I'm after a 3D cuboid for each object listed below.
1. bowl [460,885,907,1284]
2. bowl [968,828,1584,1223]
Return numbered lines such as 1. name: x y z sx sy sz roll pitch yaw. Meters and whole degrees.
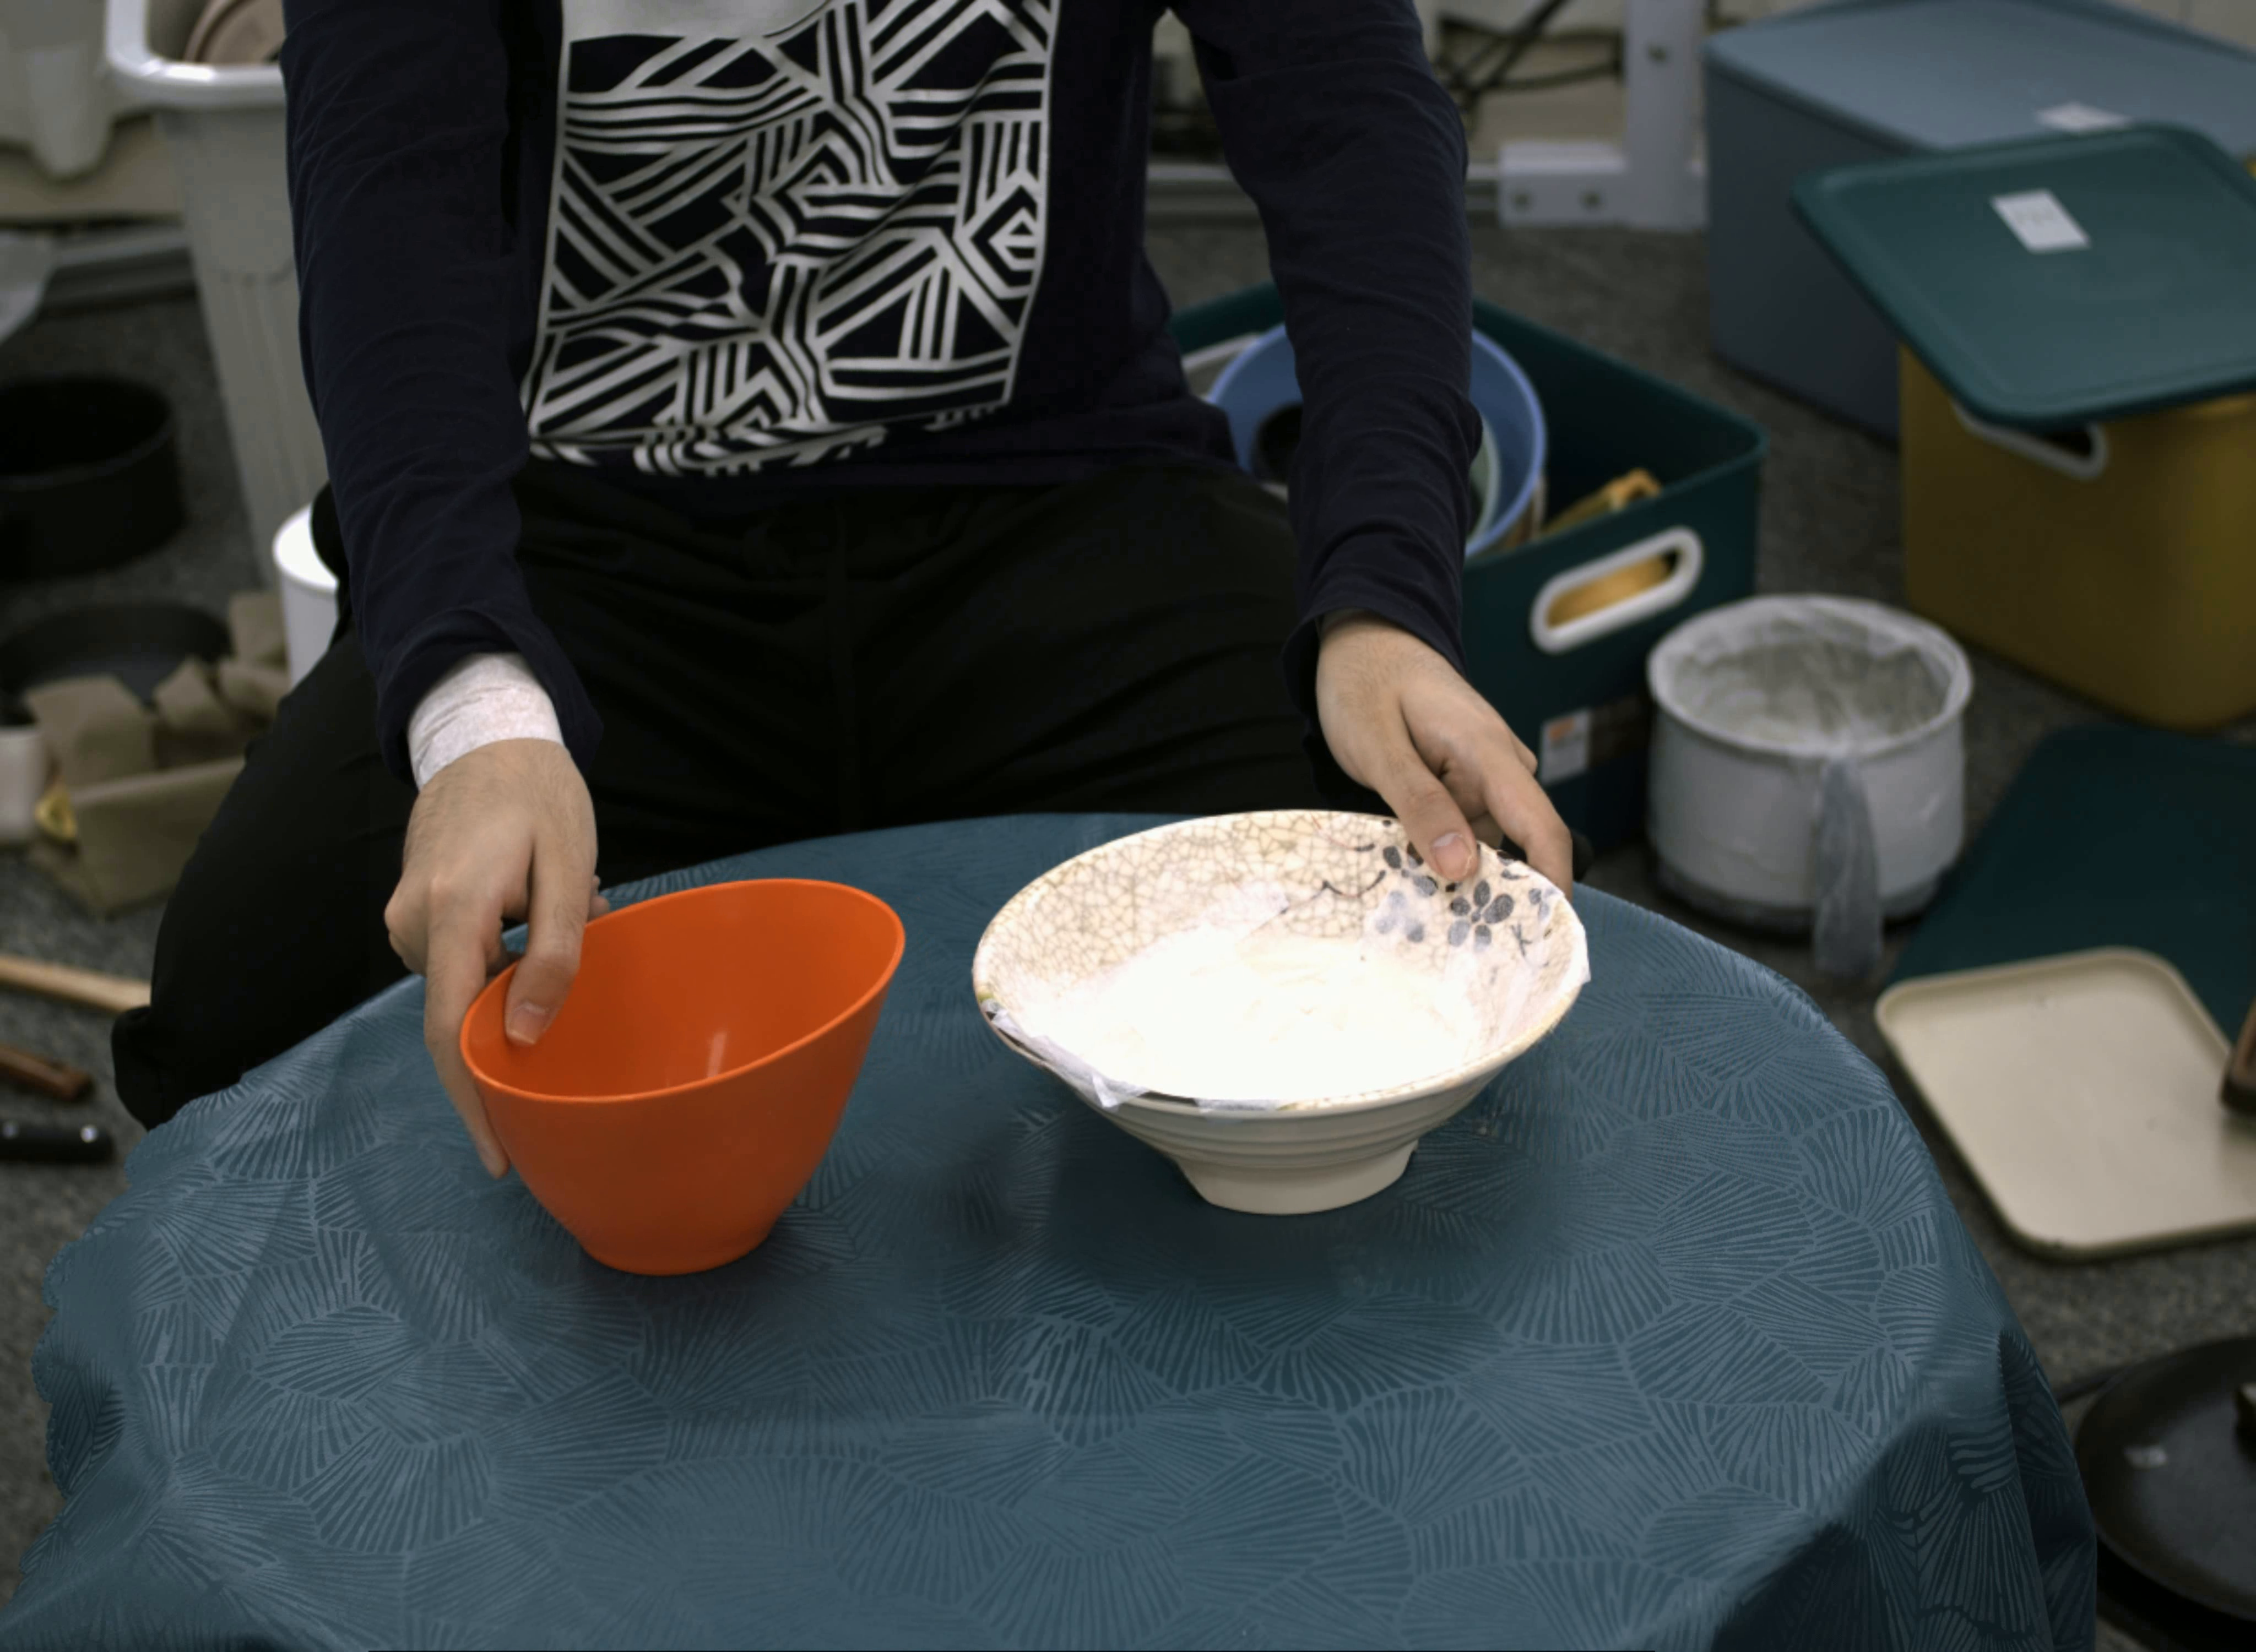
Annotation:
1. bowl: -0.141 0.090 1.830 0.147 0.103 0.150 -3 26 2
2. bowl: 0.049 0.077 1.863 0.203 0.077 0.207 -1 24 1
